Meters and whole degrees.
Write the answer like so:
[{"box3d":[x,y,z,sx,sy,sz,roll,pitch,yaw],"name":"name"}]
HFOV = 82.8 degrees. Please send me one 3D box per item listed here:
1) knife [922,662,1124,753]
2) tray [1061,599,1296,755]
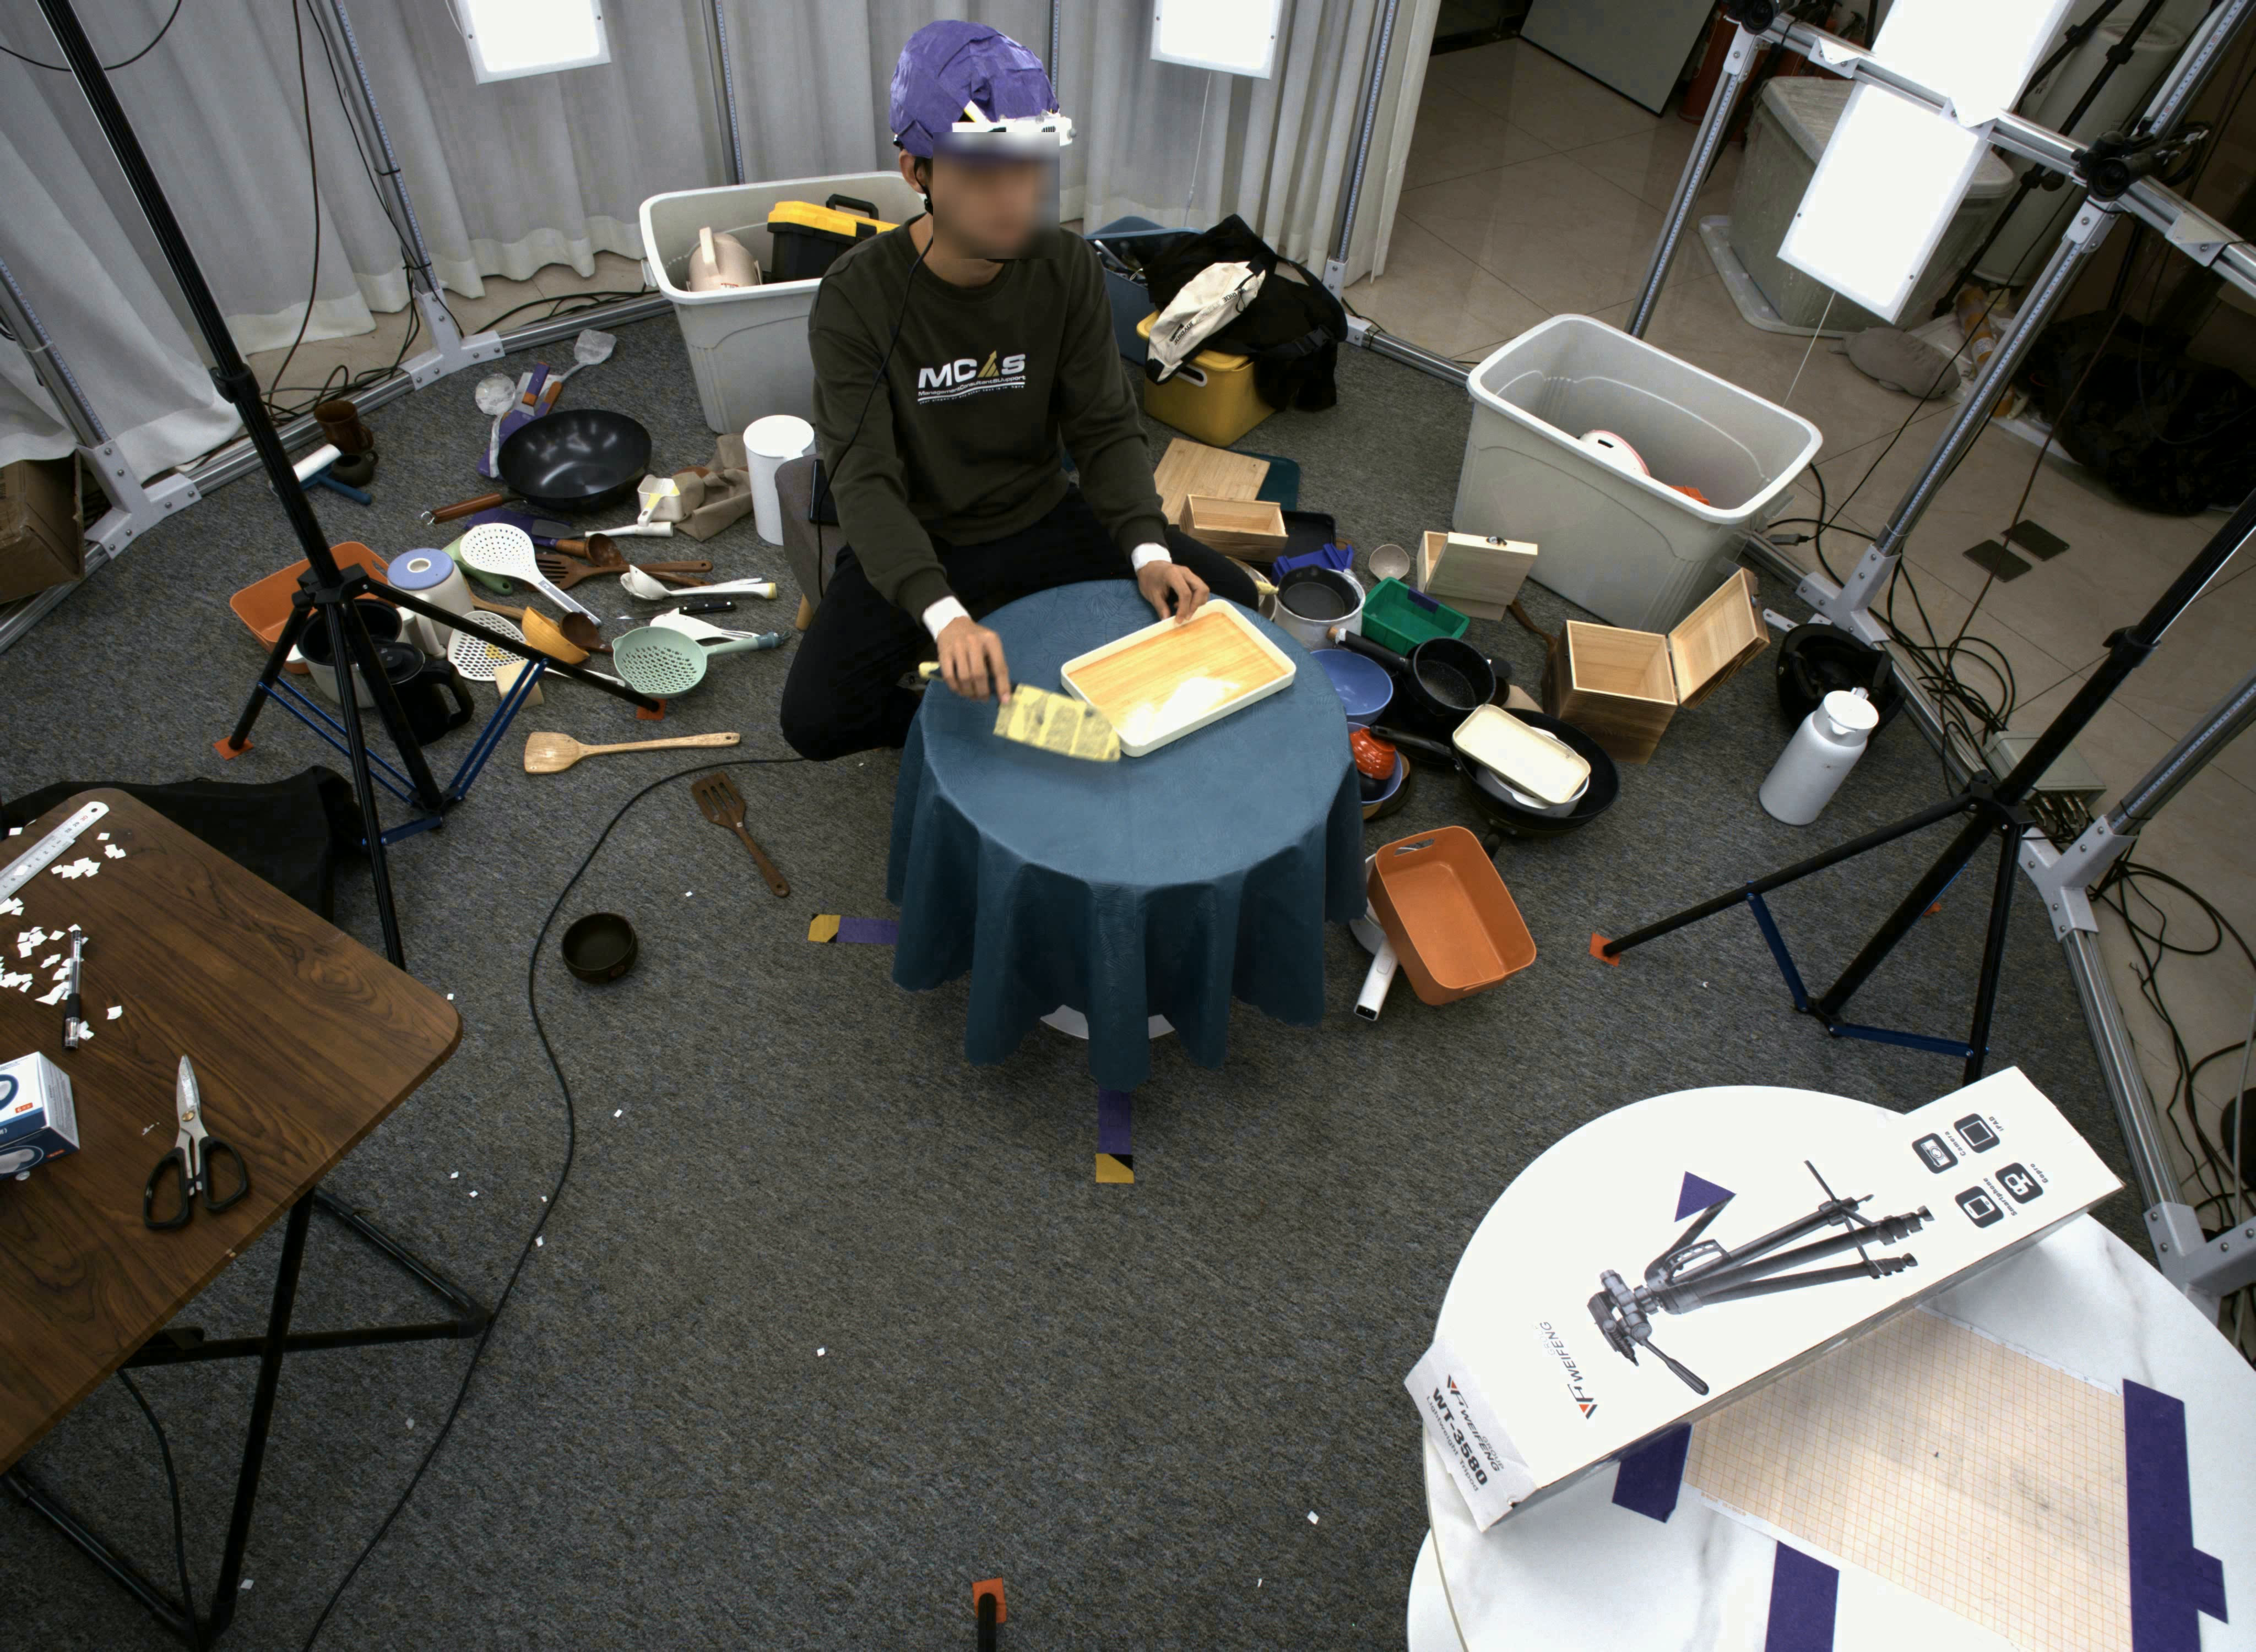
[{"box3d":[-0.141,-0.158,1.706,0.290,0.027,0.081,18,90,8],"name":"knife"},{"box3d":[0.073,-0.220,1.845,0.301,0.027,0.195,-26,55,-24],"name":"tray"}]
